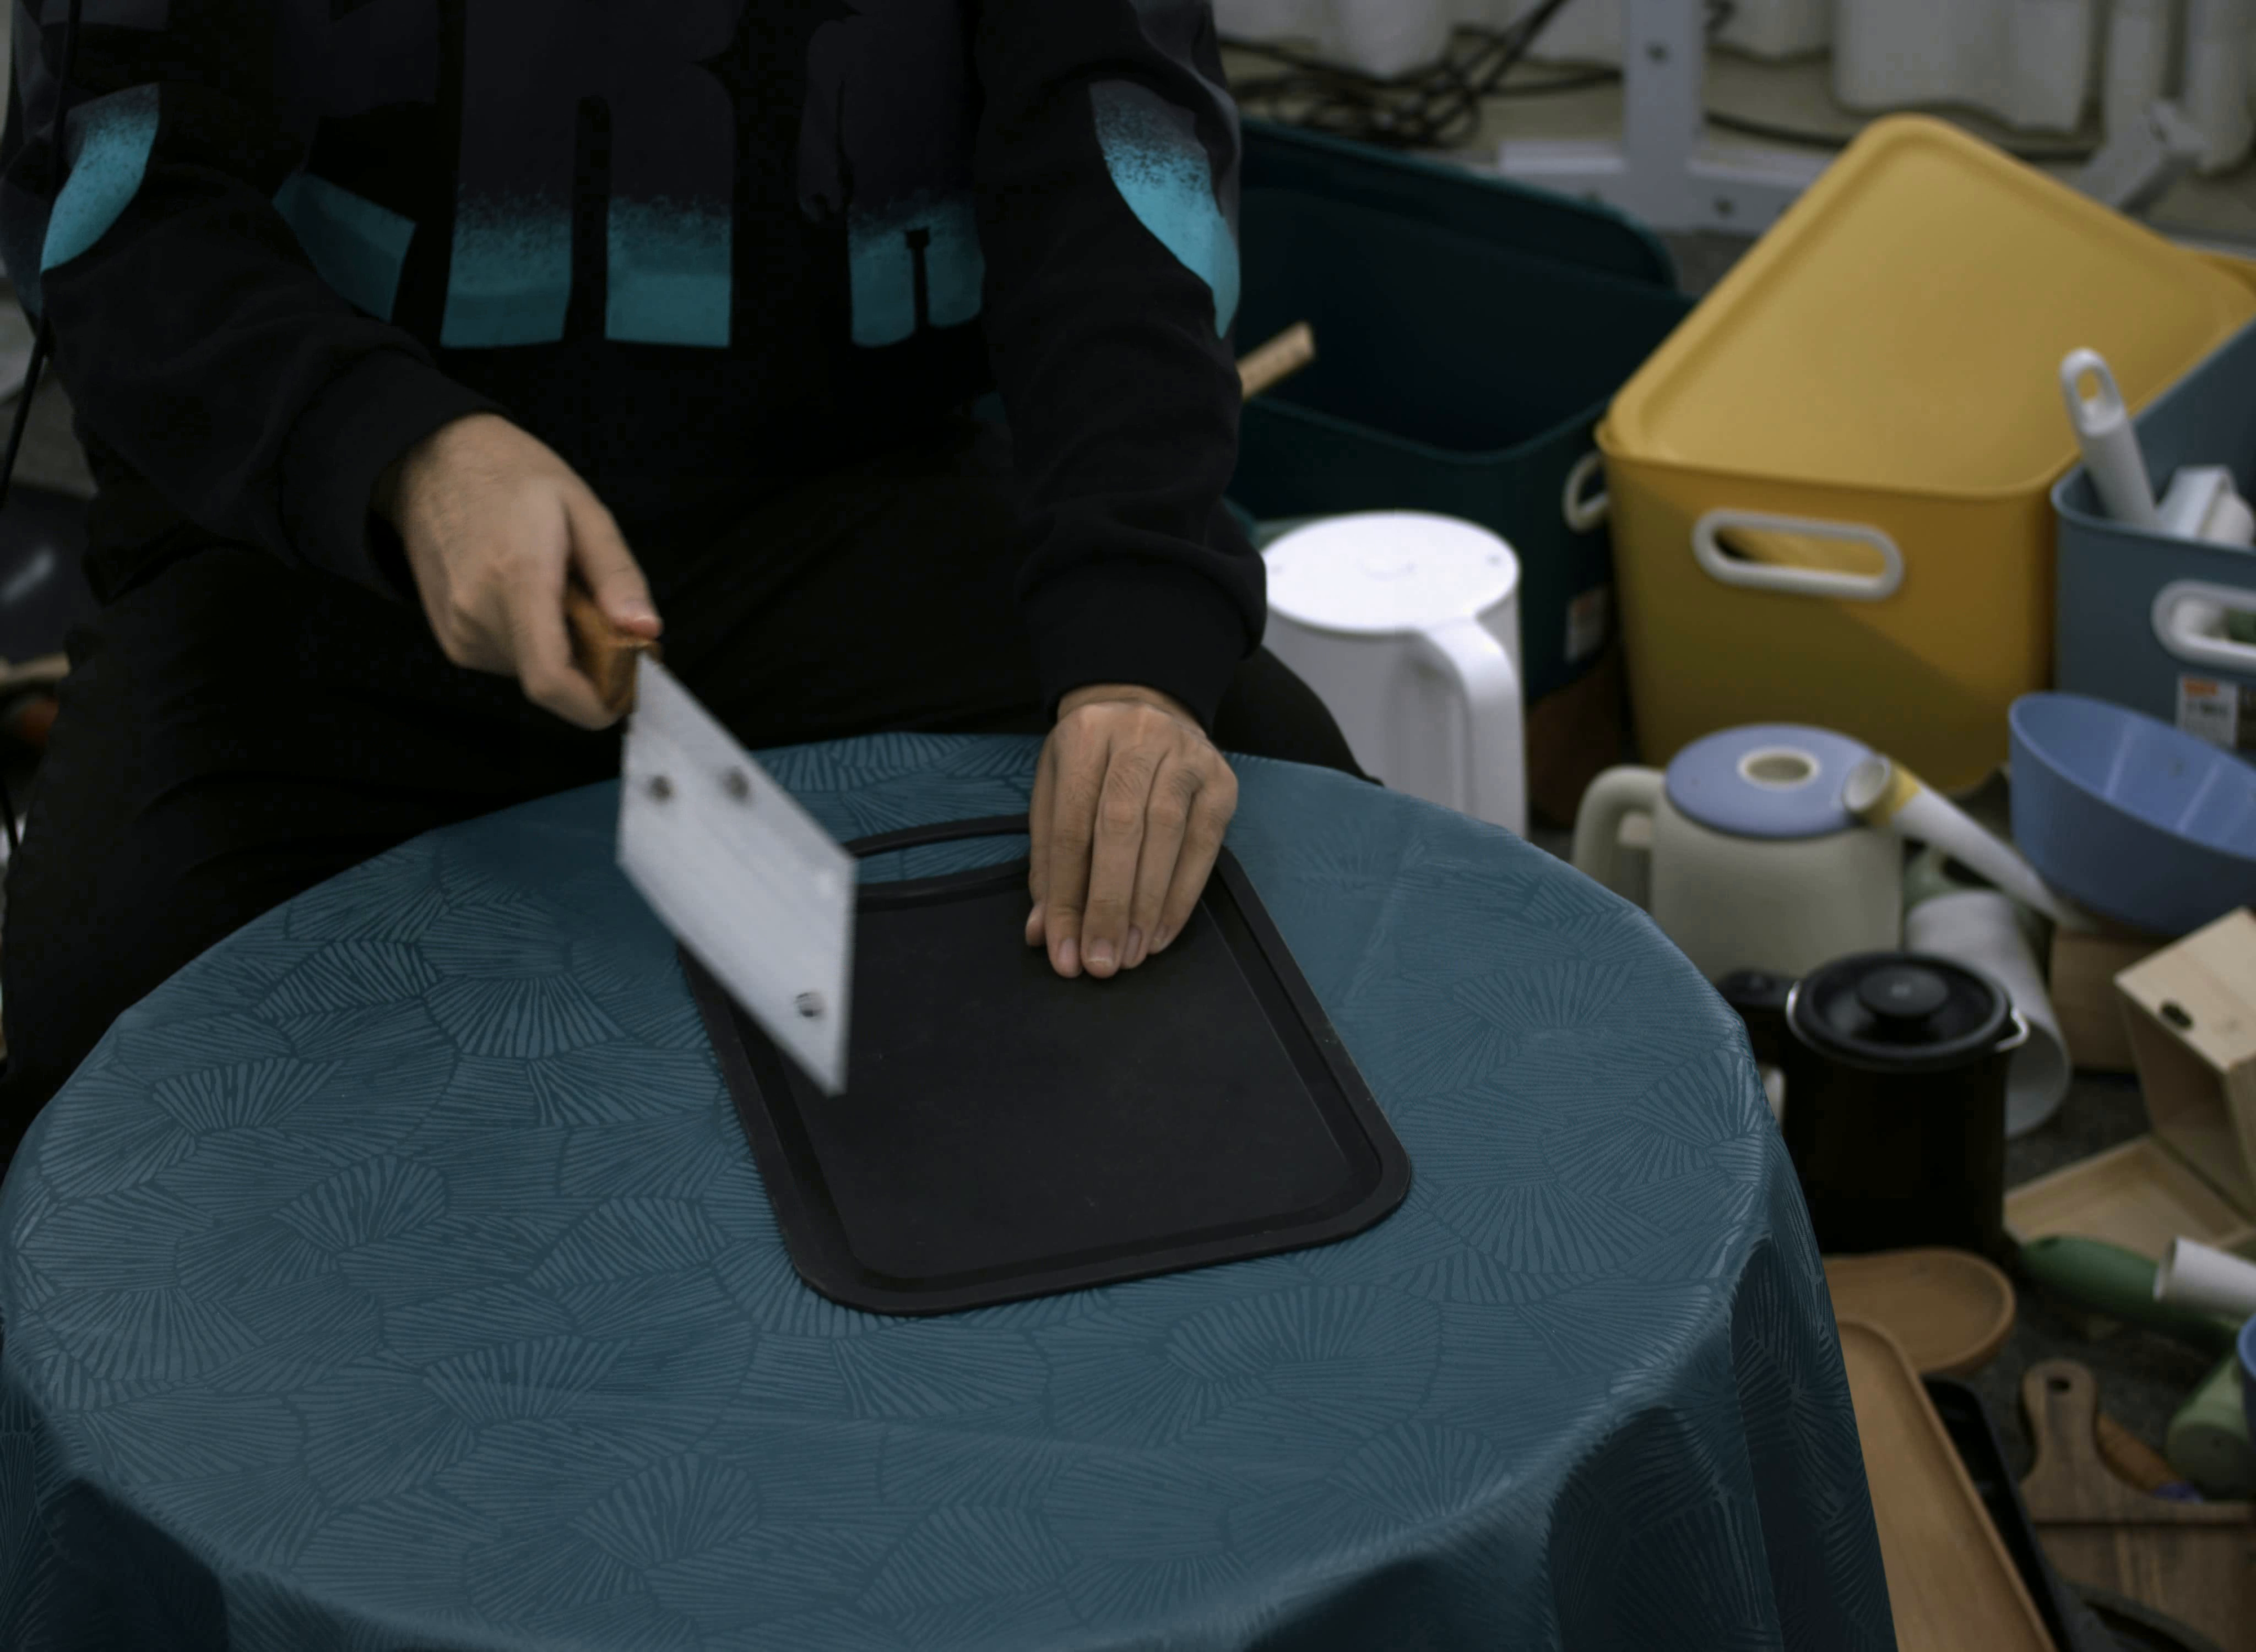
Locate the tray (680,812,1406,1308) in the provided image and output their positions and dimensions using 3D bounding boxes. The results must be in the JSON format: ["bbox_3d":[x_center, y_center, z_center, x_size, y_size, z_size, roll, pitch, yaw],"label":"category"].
[{"bbox_3d":[-0.038,0.072,1.953,0.211,0.009,0.329,-9,28,-11],"label":"tray"}]

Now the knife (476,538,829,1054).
[{"bbox_3d":[-0.168,-0.010,1.966,0.021,0.092,0.307,-5,26,-27],"label":"knife"}]
